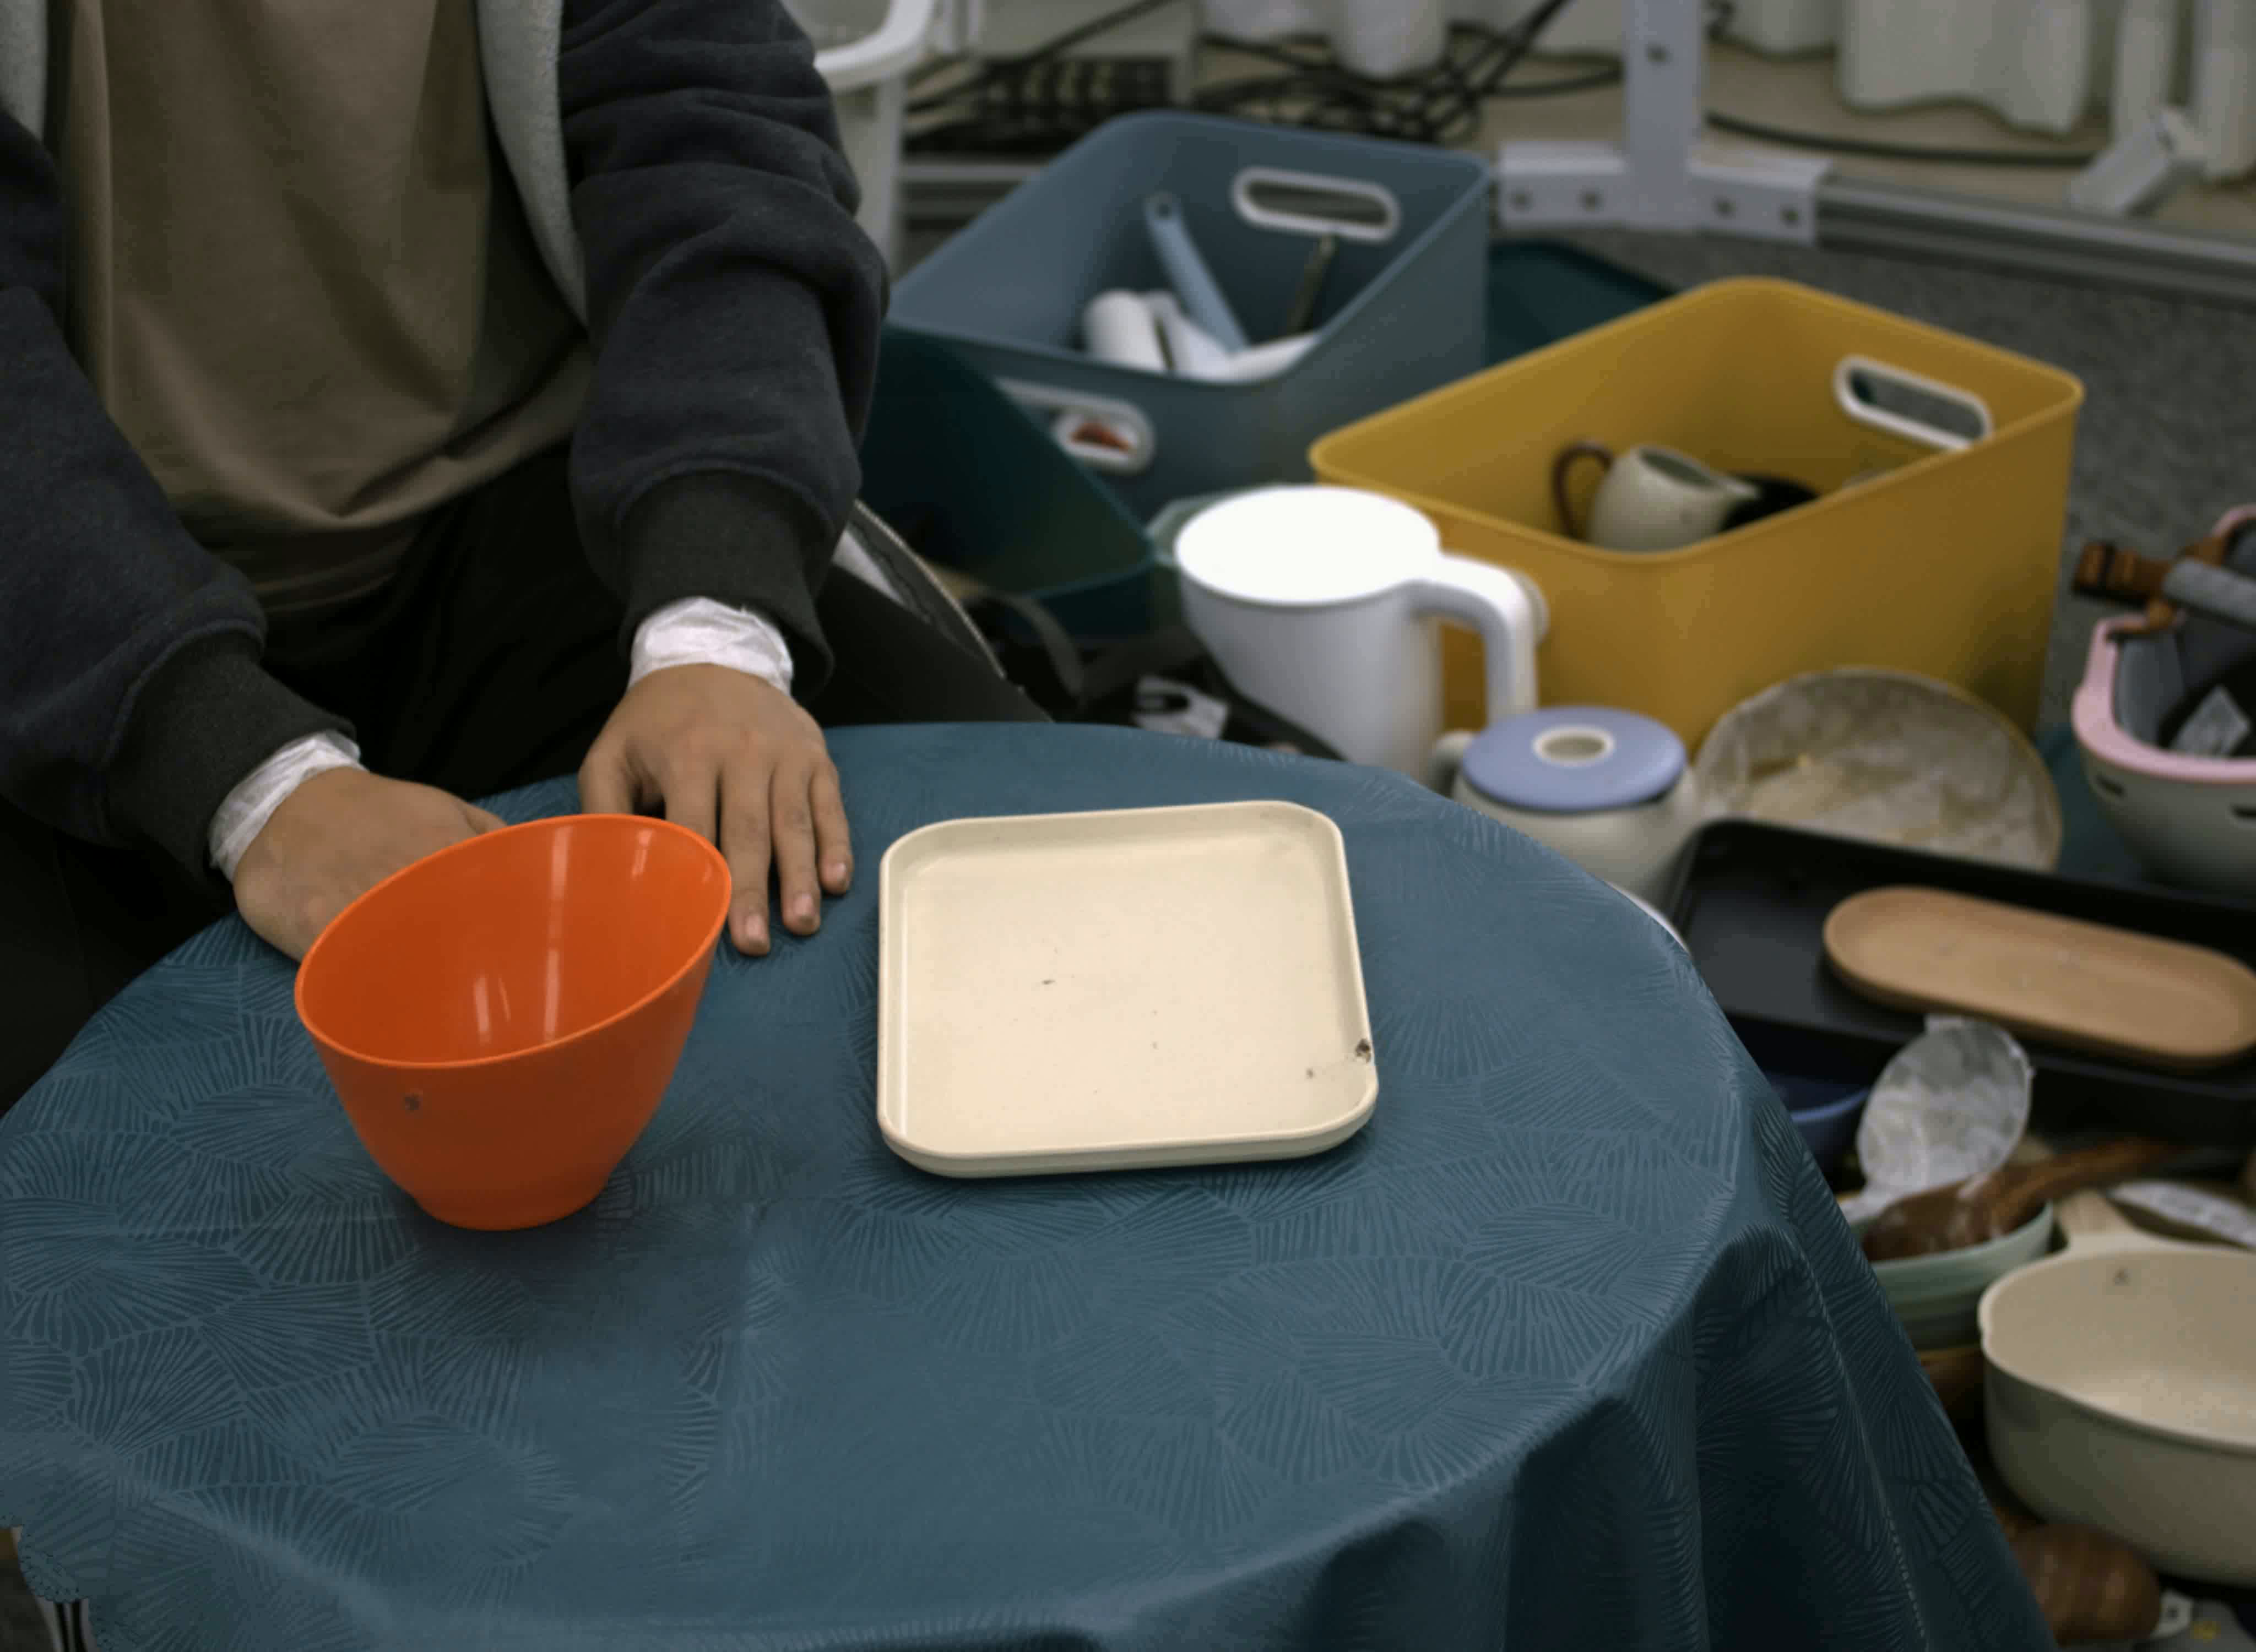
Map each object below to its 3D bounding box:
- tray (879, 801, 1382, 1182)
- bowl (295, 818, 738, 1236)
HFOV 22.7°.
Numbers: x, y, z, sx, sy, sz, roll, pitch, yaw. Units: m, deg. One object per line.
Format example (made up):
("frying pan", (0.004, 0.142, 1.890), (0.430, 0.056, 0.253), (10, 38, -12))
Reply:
("tray", (-0.002, 0.057, 1.968), (0.170, 0.017, 0.243), (-4, 27, 0))
("bowl", (-0.200, 0.074, 1.866), (0.147, 0.103, 0.150), (-1, 28, 1))
